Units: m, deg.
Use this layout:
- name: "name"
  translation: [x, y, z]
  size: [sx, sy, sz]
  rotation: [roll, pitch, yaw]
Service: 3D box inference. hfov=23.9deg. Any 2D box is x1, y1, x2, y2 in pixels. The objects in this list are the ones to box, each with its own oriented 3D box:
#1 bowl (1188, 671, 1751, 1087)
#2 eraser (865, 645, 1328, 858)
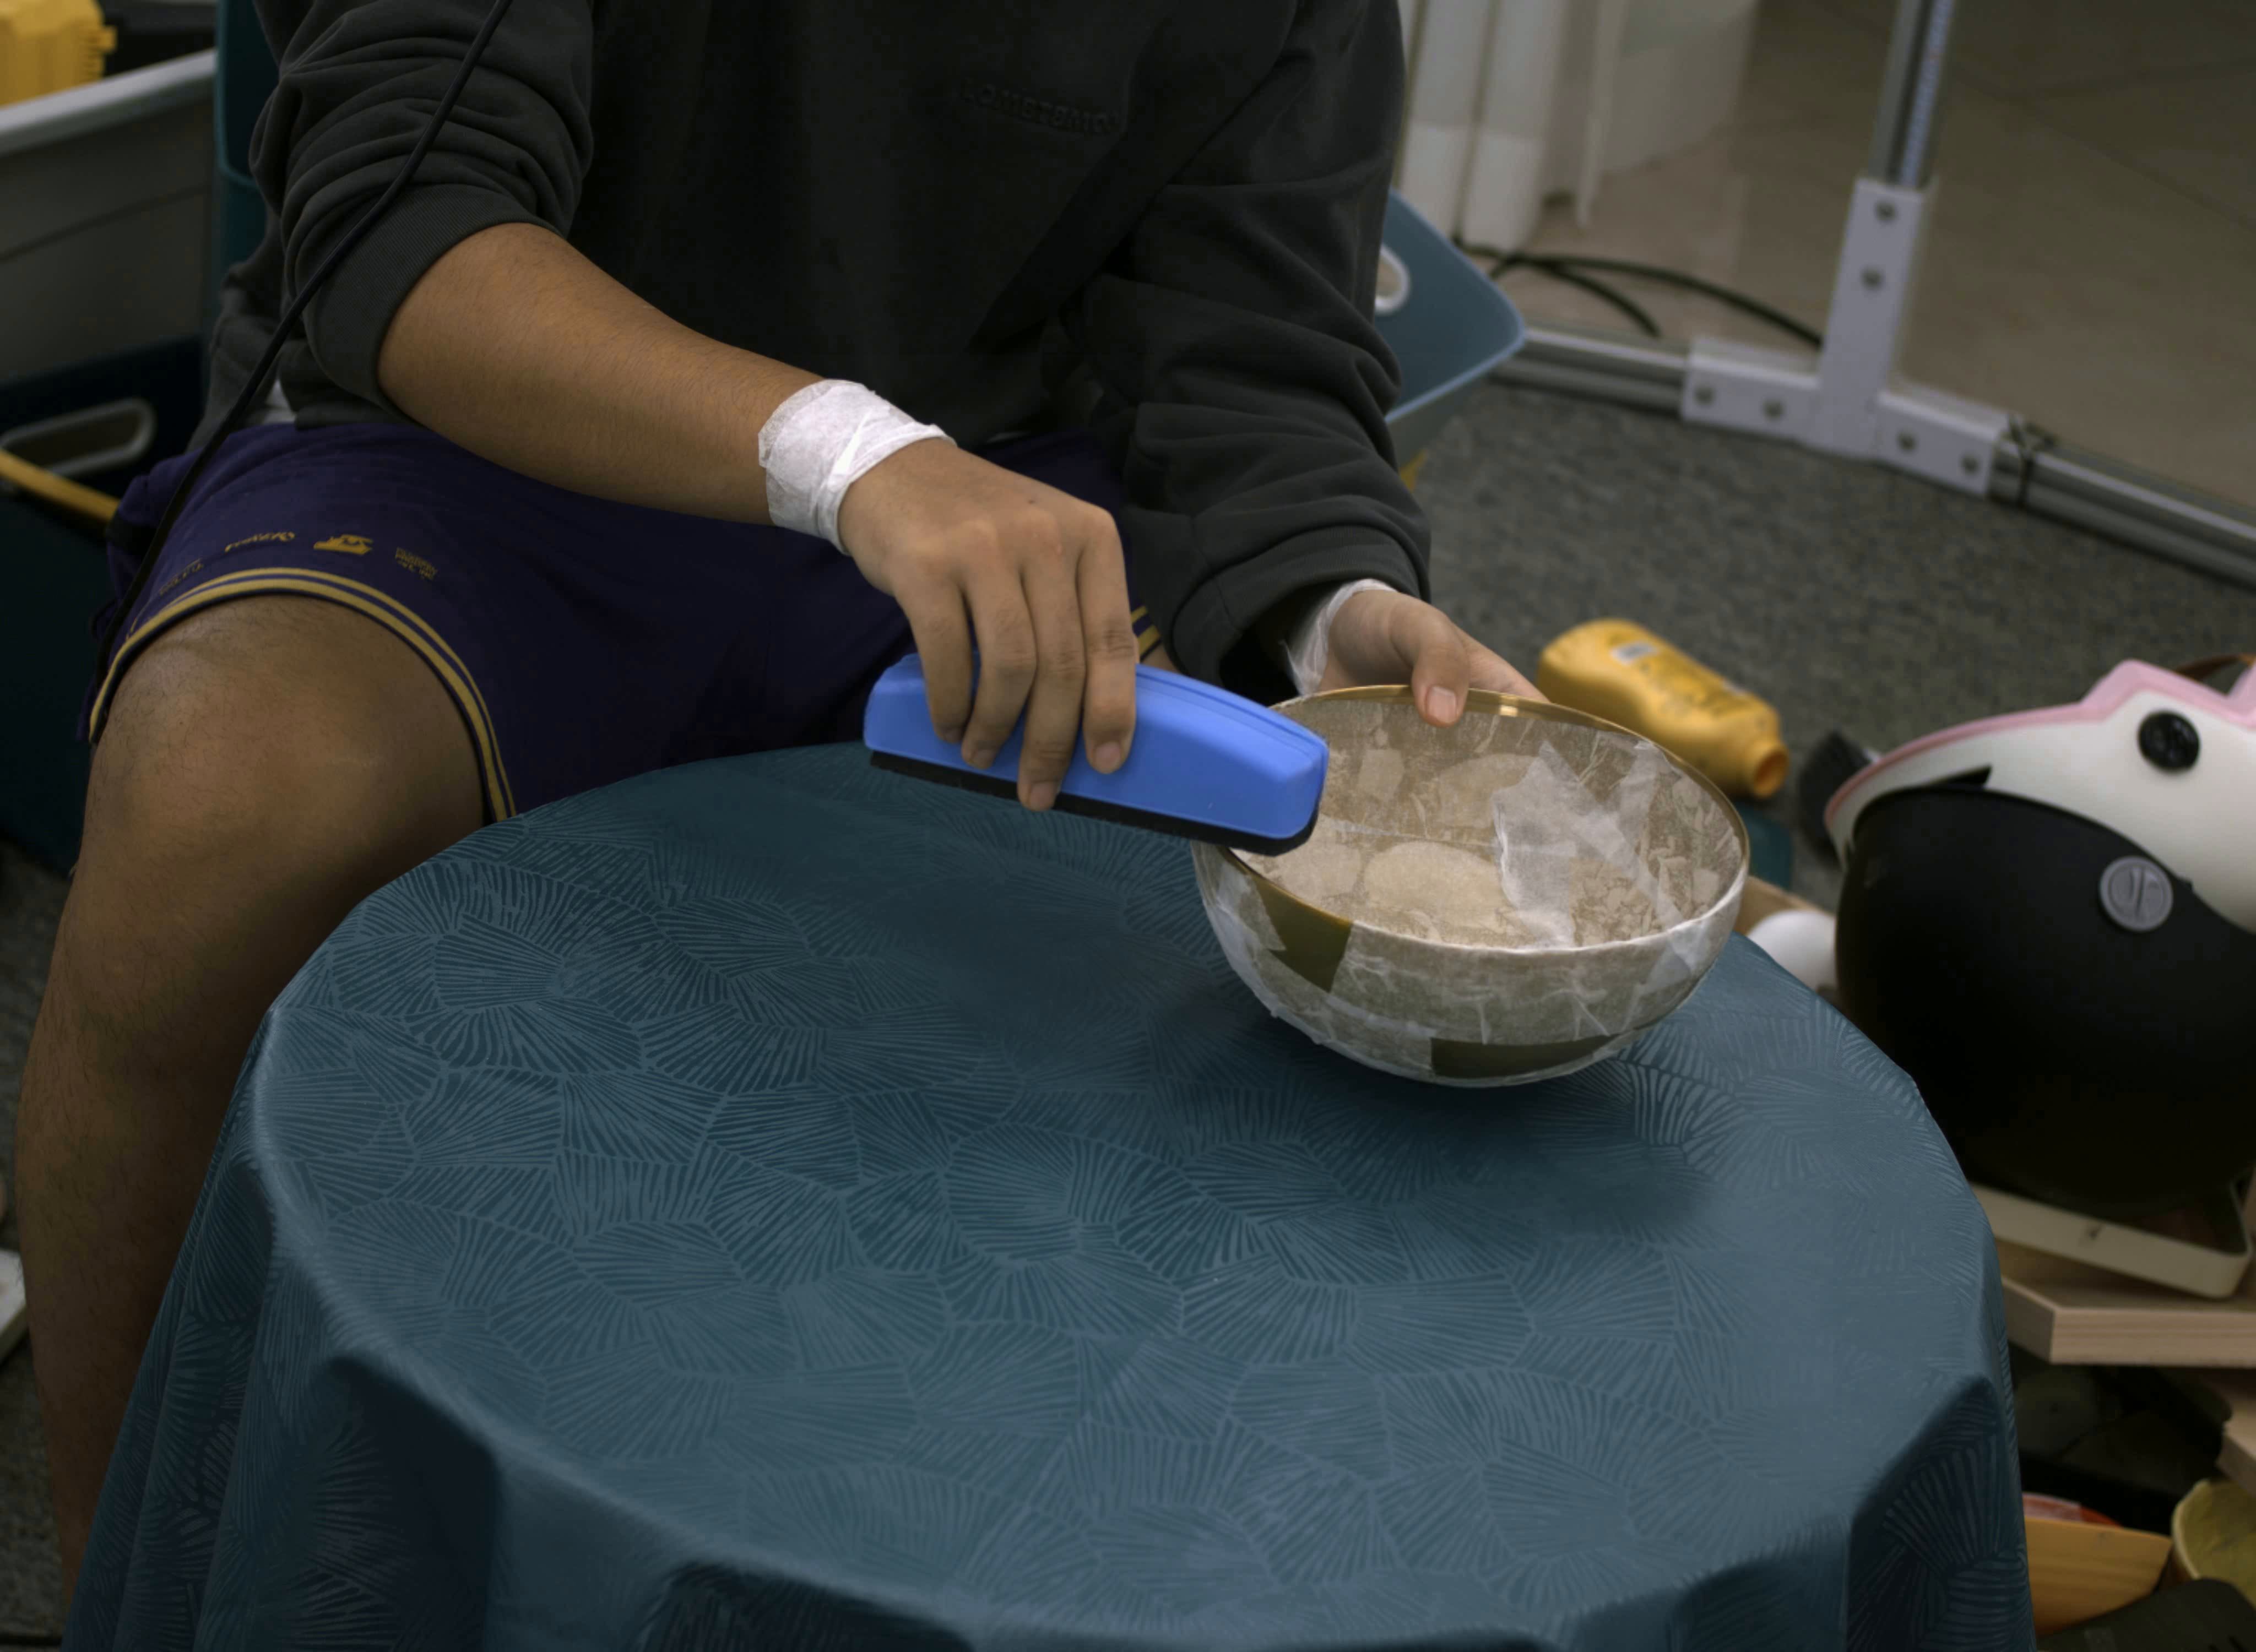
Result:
- name: "bowl"
  translation: [0.117, 0.031, 1.906]
  size: [0.214, 0.094, 0.216]
  rotation: [4, 28, -2]
- name: "eraser"
  translation: [-0.010, -0.031, 1.855]
  size: [0.162, 0.047, 0.054]
  rotation: [12, 22, 15]
